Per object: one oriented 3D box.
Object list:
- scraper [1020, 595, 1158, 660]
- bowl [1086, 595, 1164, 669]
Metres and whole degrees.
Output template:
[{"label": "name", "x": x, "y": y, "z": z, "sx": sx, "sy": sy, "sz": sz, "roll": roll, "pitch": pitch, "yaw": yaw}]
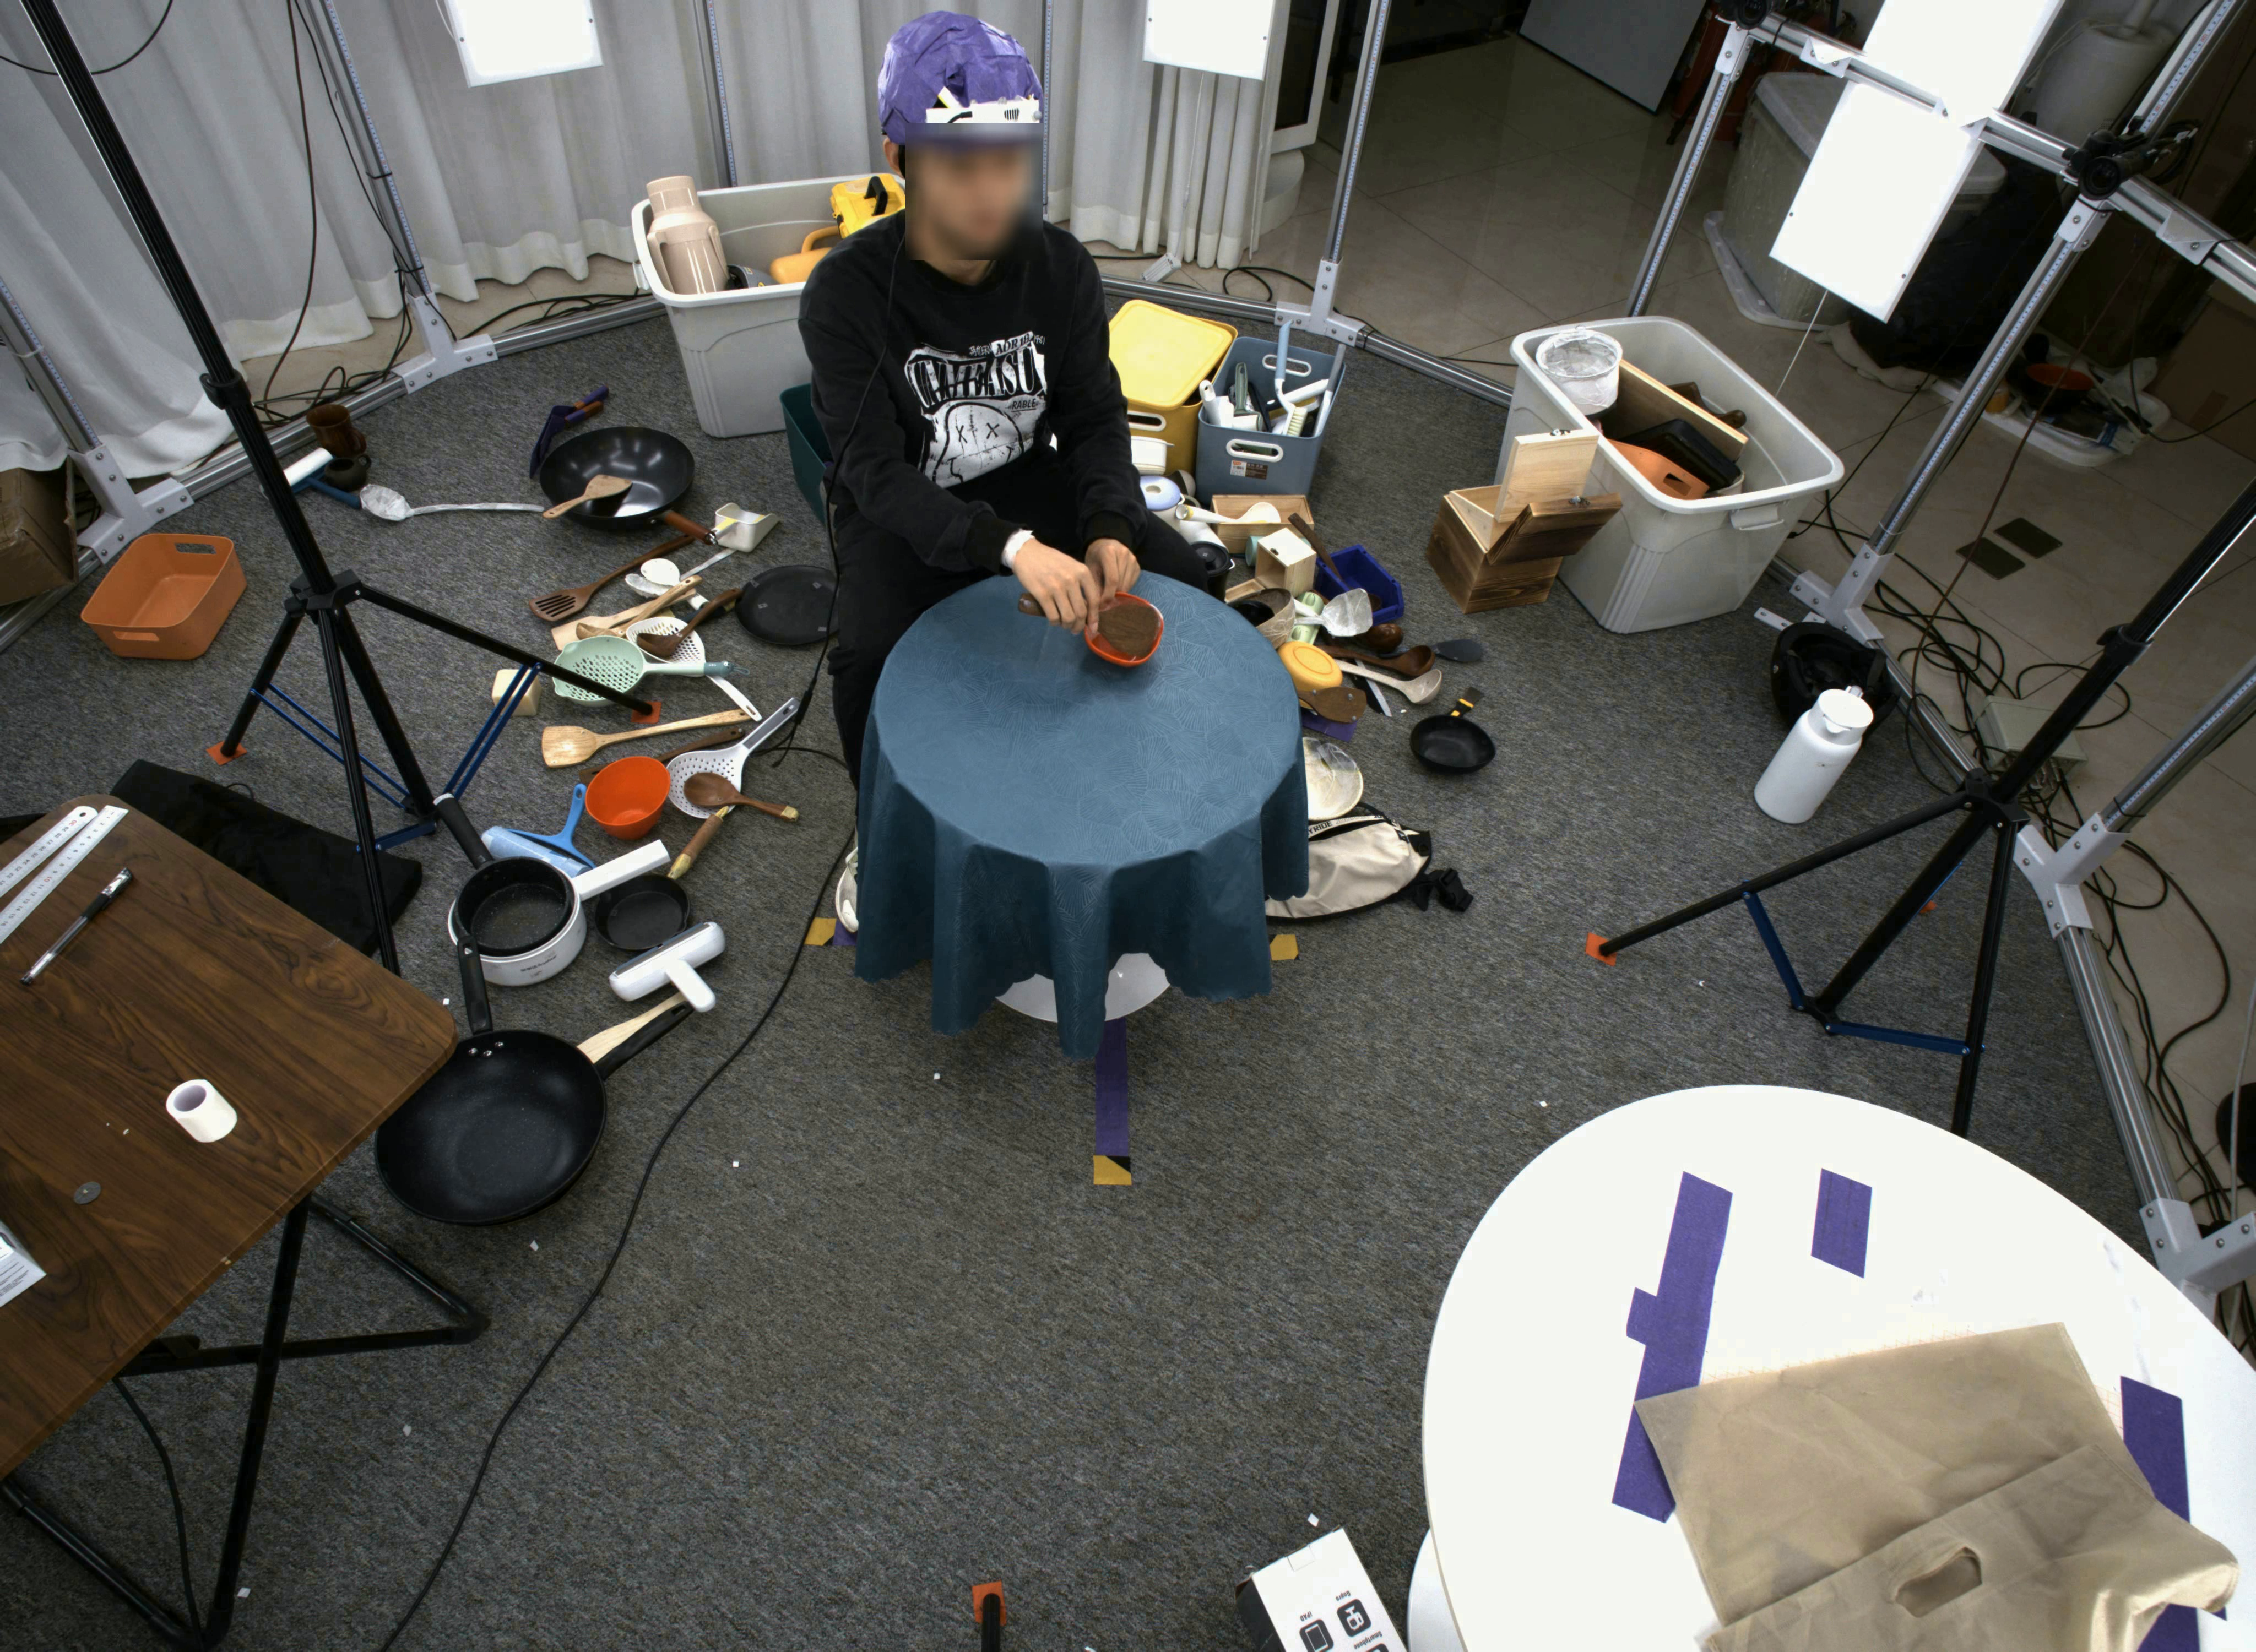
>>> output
[{"label": "scraper", "x": -0.054, "y": -0.291, "z": 1.817, "sx": 0.210, "sy": 0.076, "sz": 0.011, "roll": 10, "pitch": 2, "yaw": -26}, {"label": "bowl", "x": -0.007, "y": -0.276, "z": 1.880, "sx": 0.118, "sy": 0.050, "sz": 0.121, "roll": 3, "pitch": 67, "yaw": -7}]
